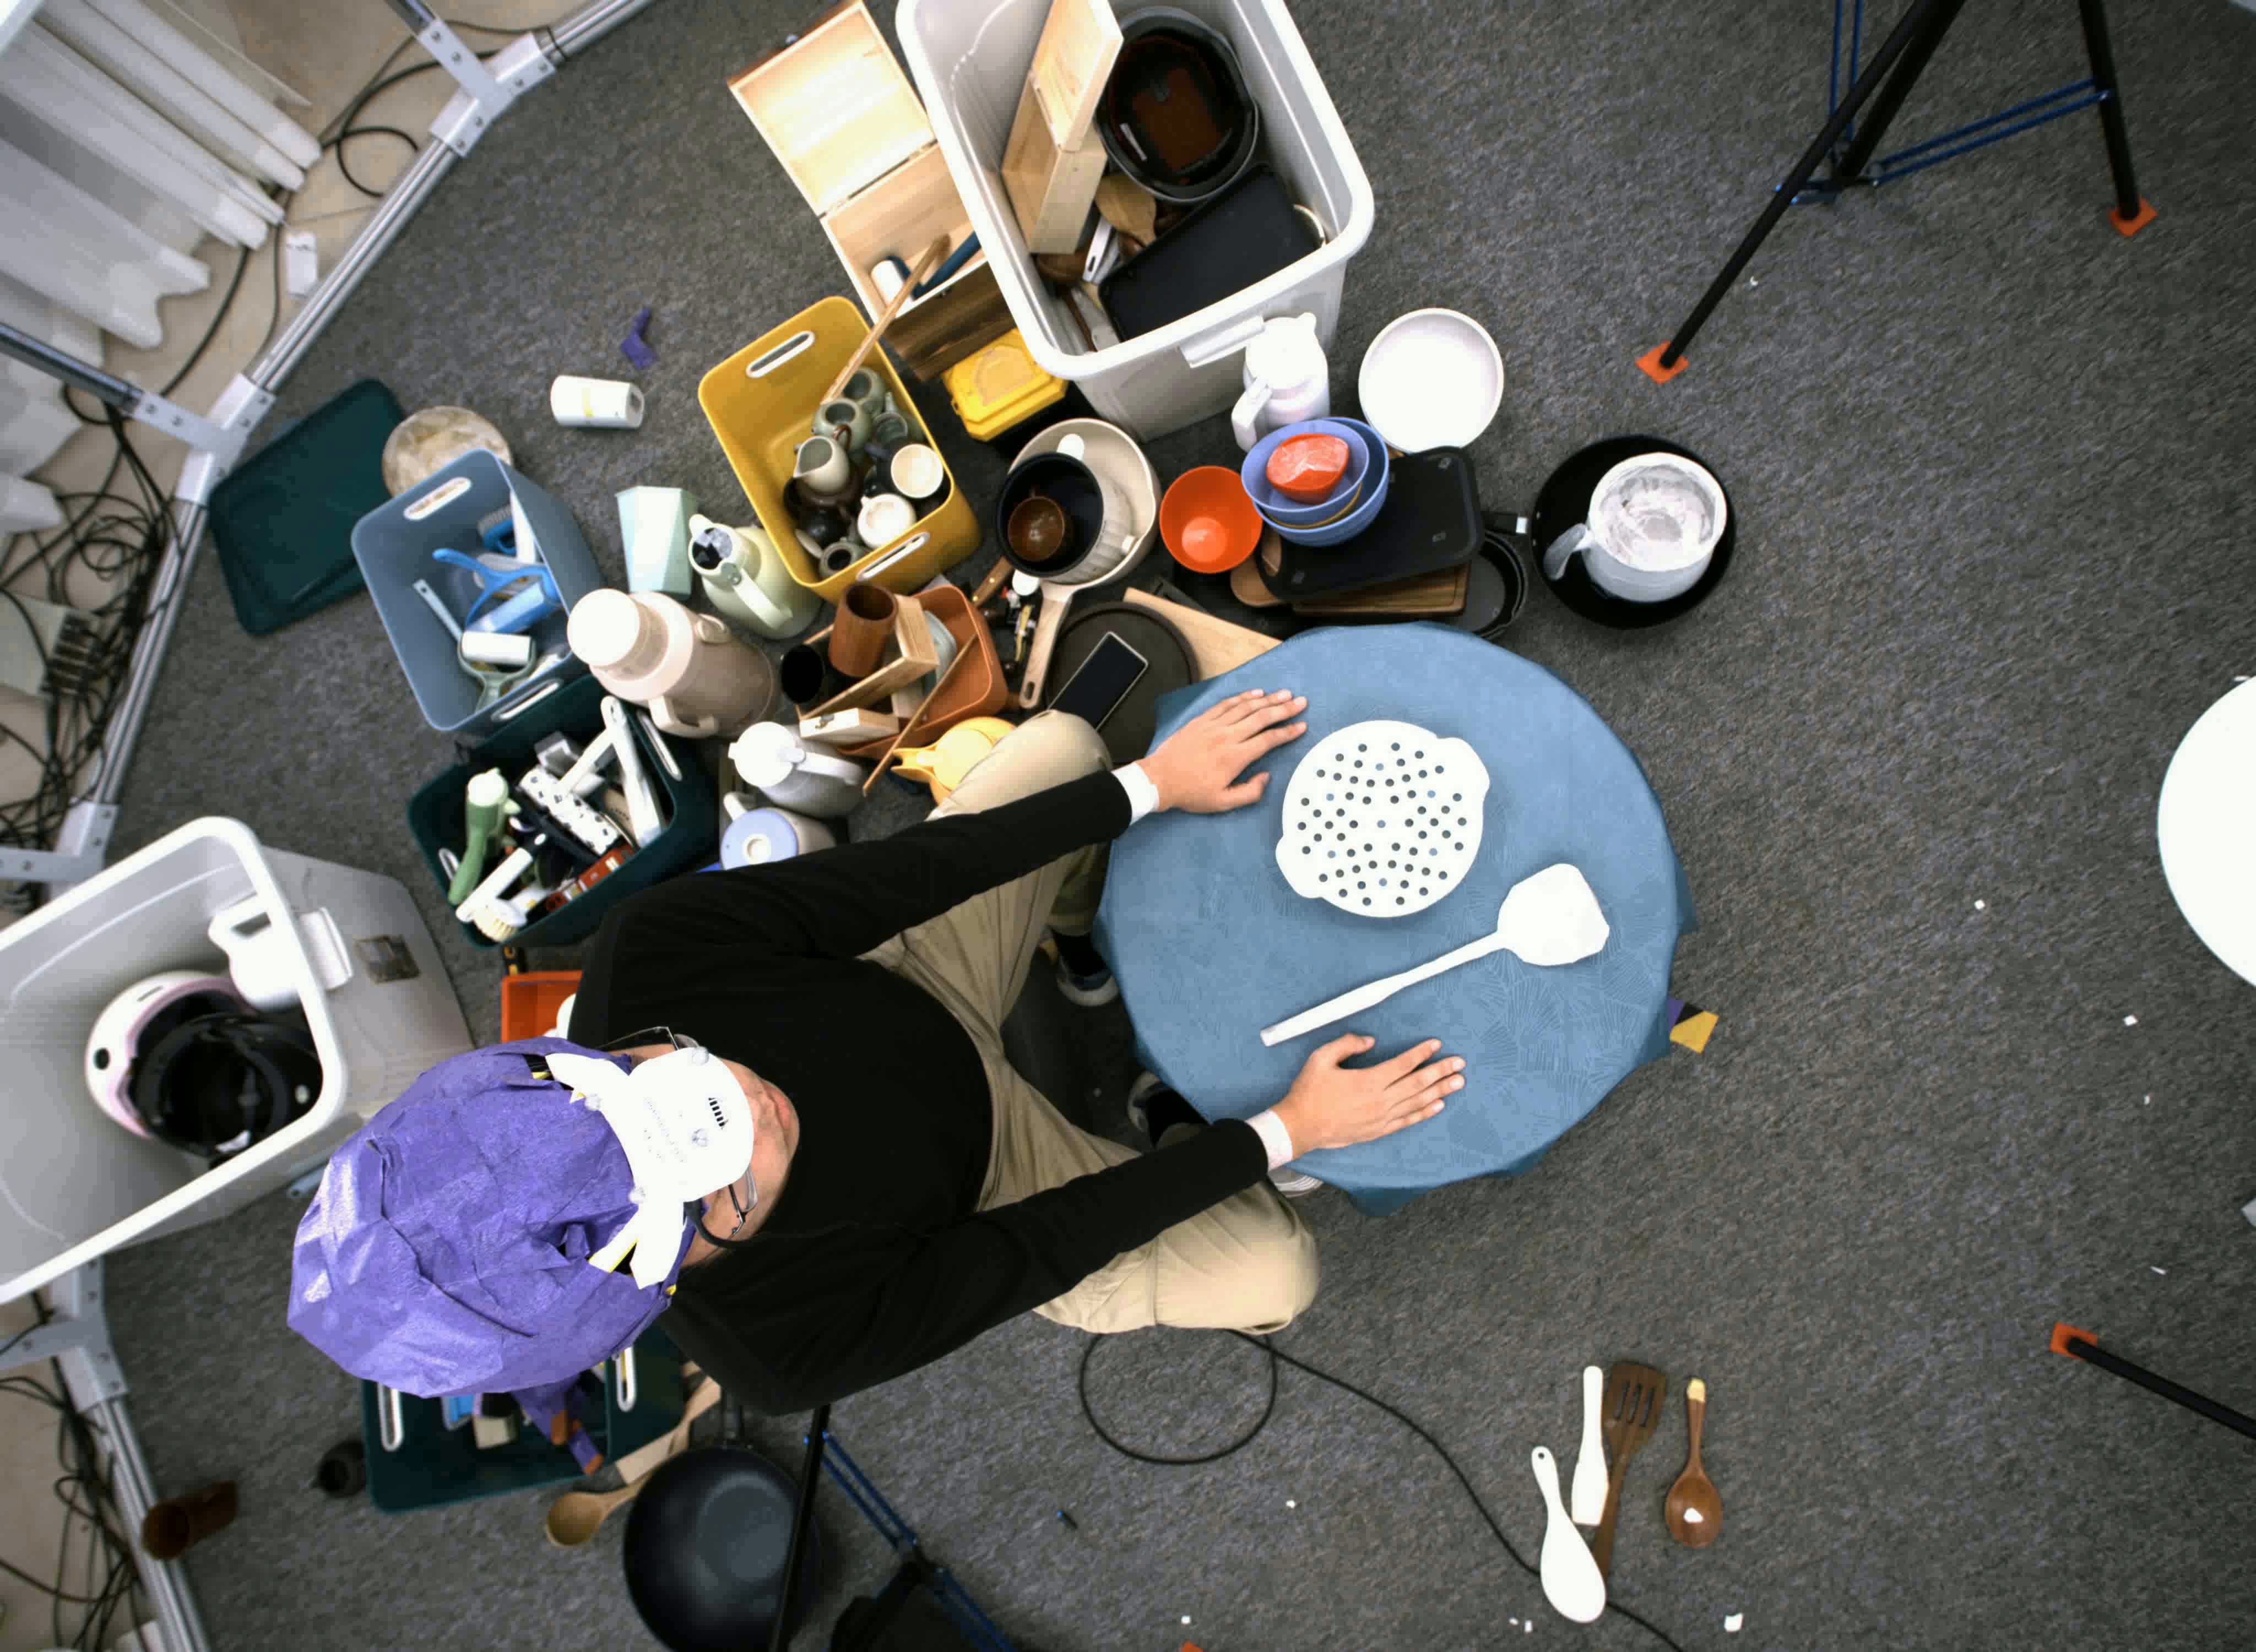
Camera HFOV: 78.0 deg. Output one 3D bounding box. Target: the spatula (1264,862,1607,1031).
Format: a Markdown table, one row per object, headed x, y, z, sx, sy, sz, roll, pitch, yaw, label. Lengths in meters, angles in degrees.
| x | y | z | sx | sy | sz | roll | pitch | yaw | label |
| --- | --- | --- | --- | --- | --- | --- | --- | --- | --- |
| 0.312 | 0.143 | 1.429 | 0.367 | 0.045 | 0.098 | -23 | 84 | 8 | spatula |

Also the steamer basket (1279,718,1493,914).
| x | y | z | sx | sy | sz | roll | pitch | yaw | label |
| --- | --- | --- | --- | --- | --- | --- | --- | --- | --- |
| 0.267 | -0.009 | 1.430 | 0.232 | 0.069 | 0.200 | -31 | 81 | 8 | steamer basket |
